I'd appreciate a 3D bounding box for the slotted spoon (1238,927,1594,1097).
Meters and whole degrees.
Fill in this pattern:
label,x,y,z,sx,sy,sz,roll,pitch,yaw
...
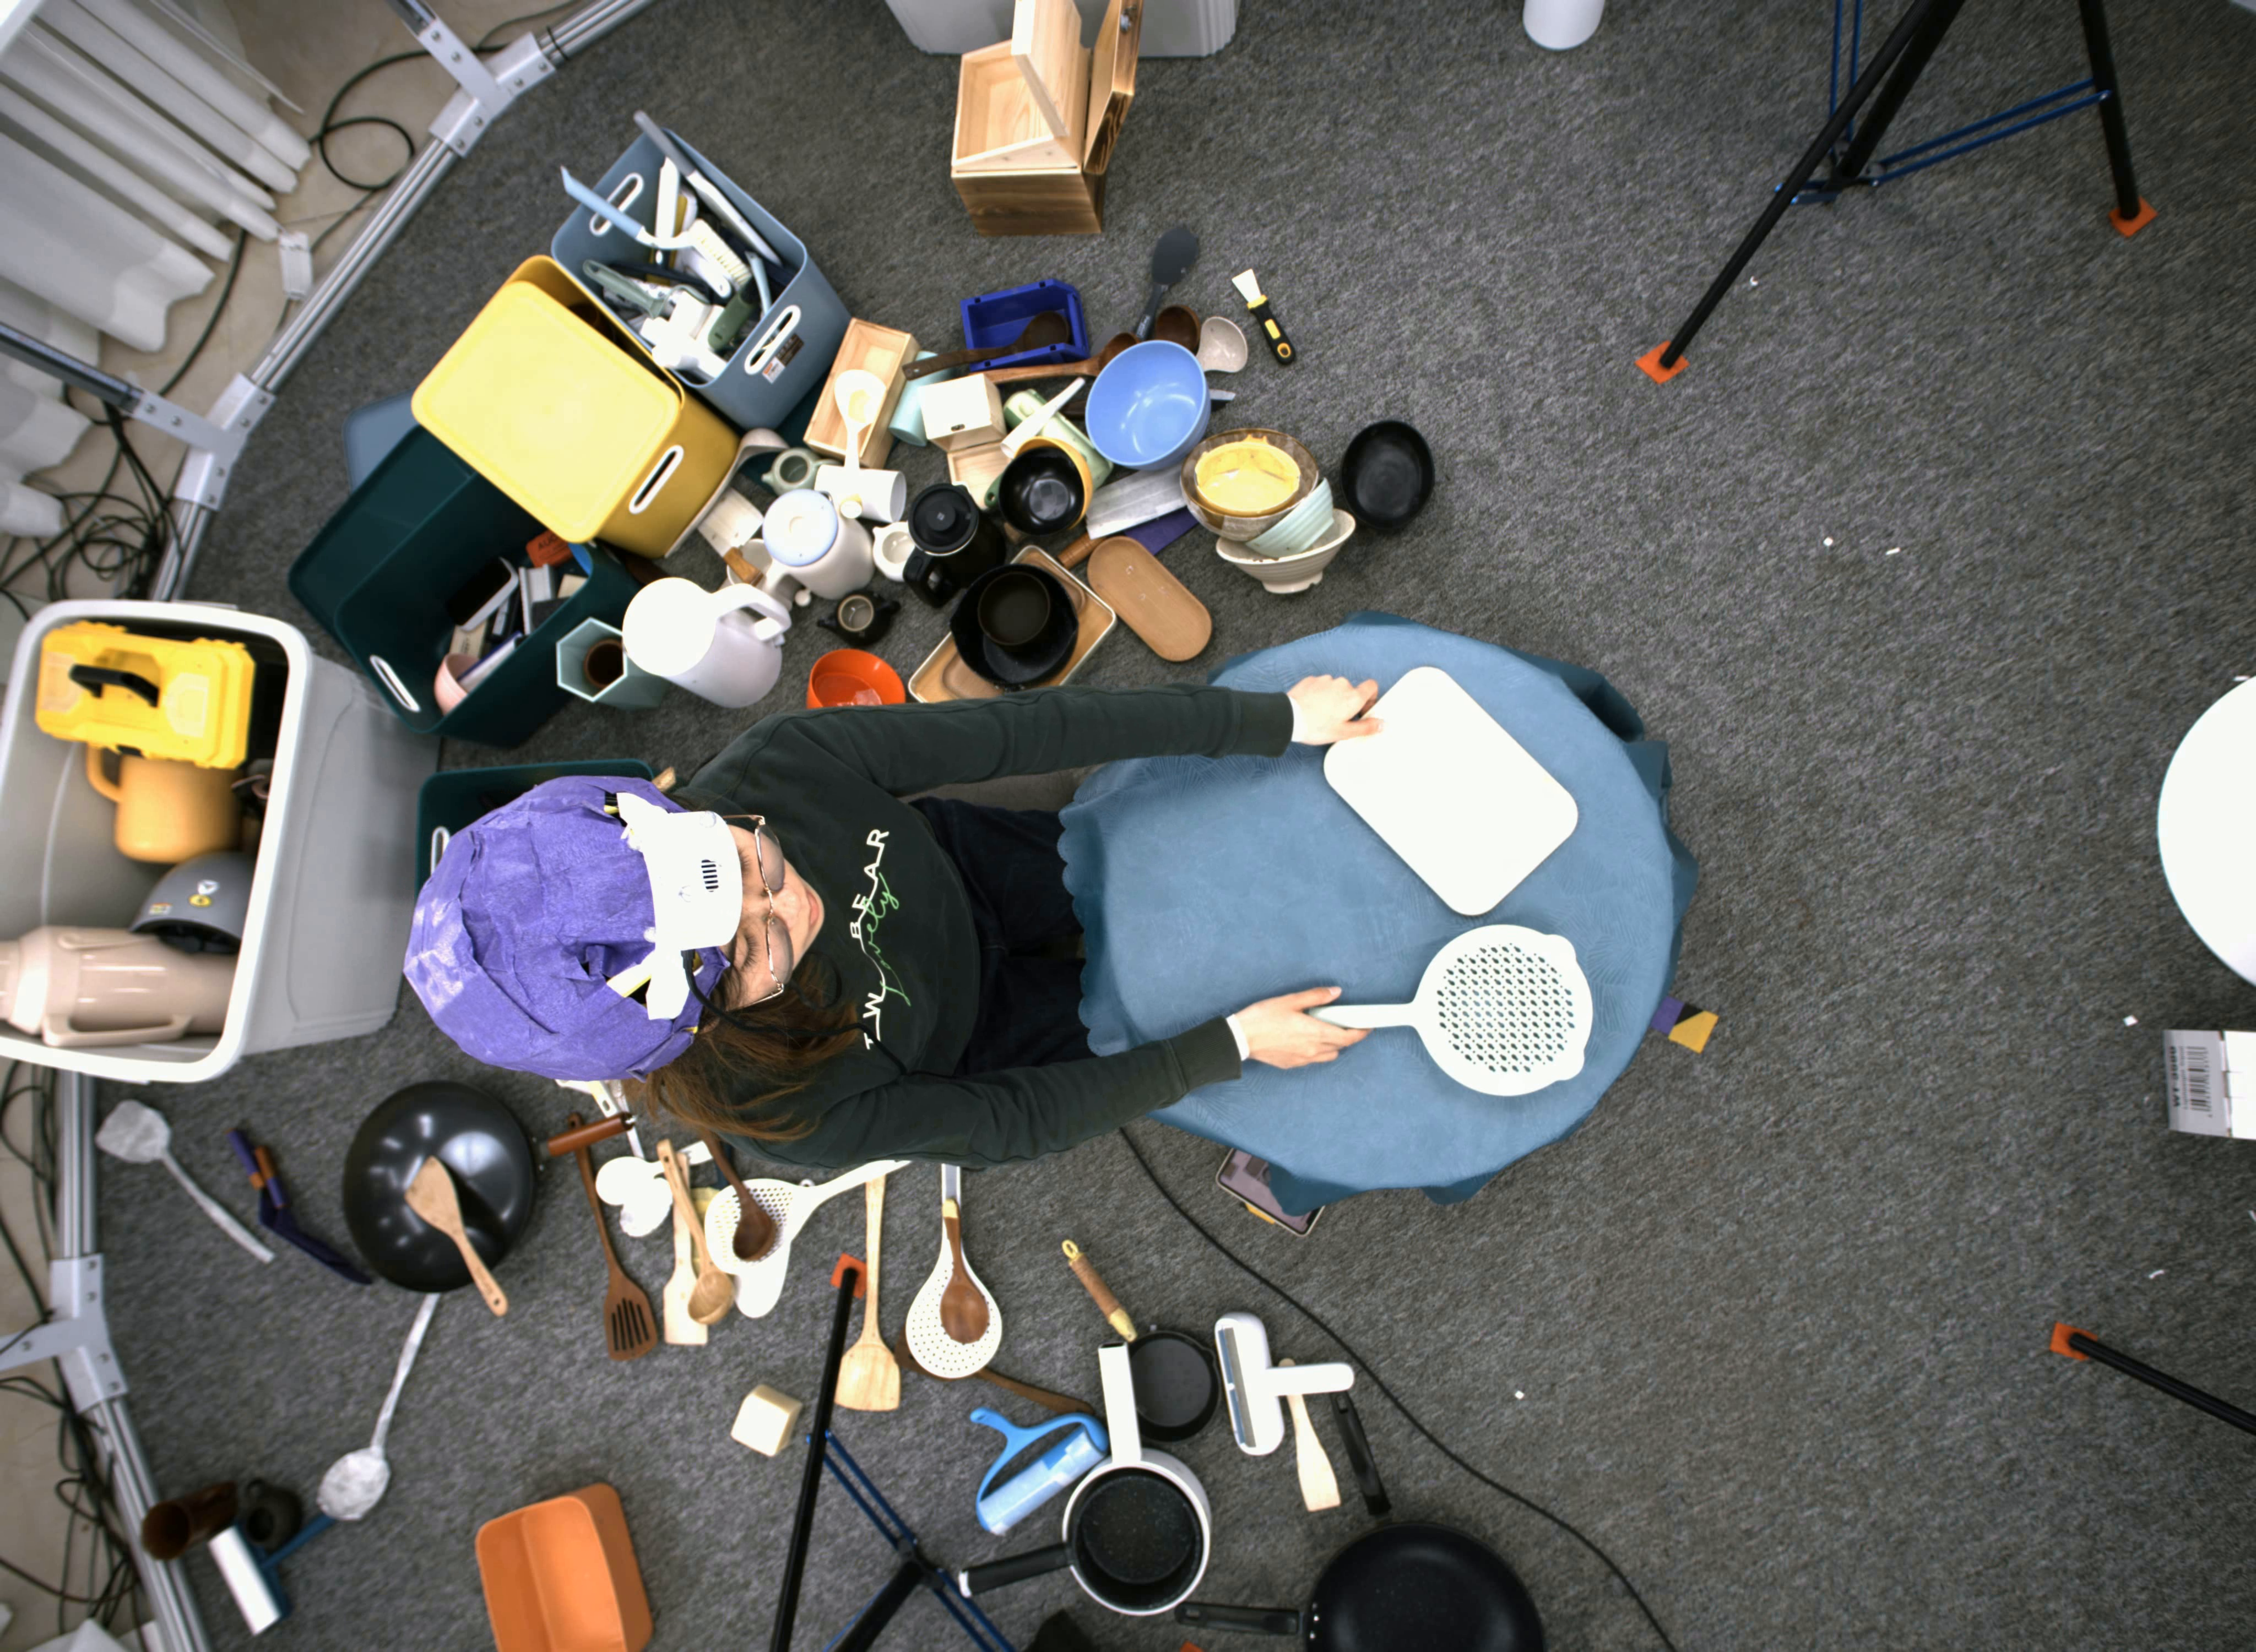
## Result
label,x,y,z,sx,sy,sz,roll,pitch,yaw
slotted spoon,0.289,0.193,1.421,0.360,0.075,0.168,-4,84,10

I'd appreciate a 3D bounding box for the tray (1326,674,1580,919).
label,x,y,z,sx,sy,sz,roll,pitch,yaw
tray,0.341,-0.034,1.451,0.172,0.017,0.238,-44,79,4
